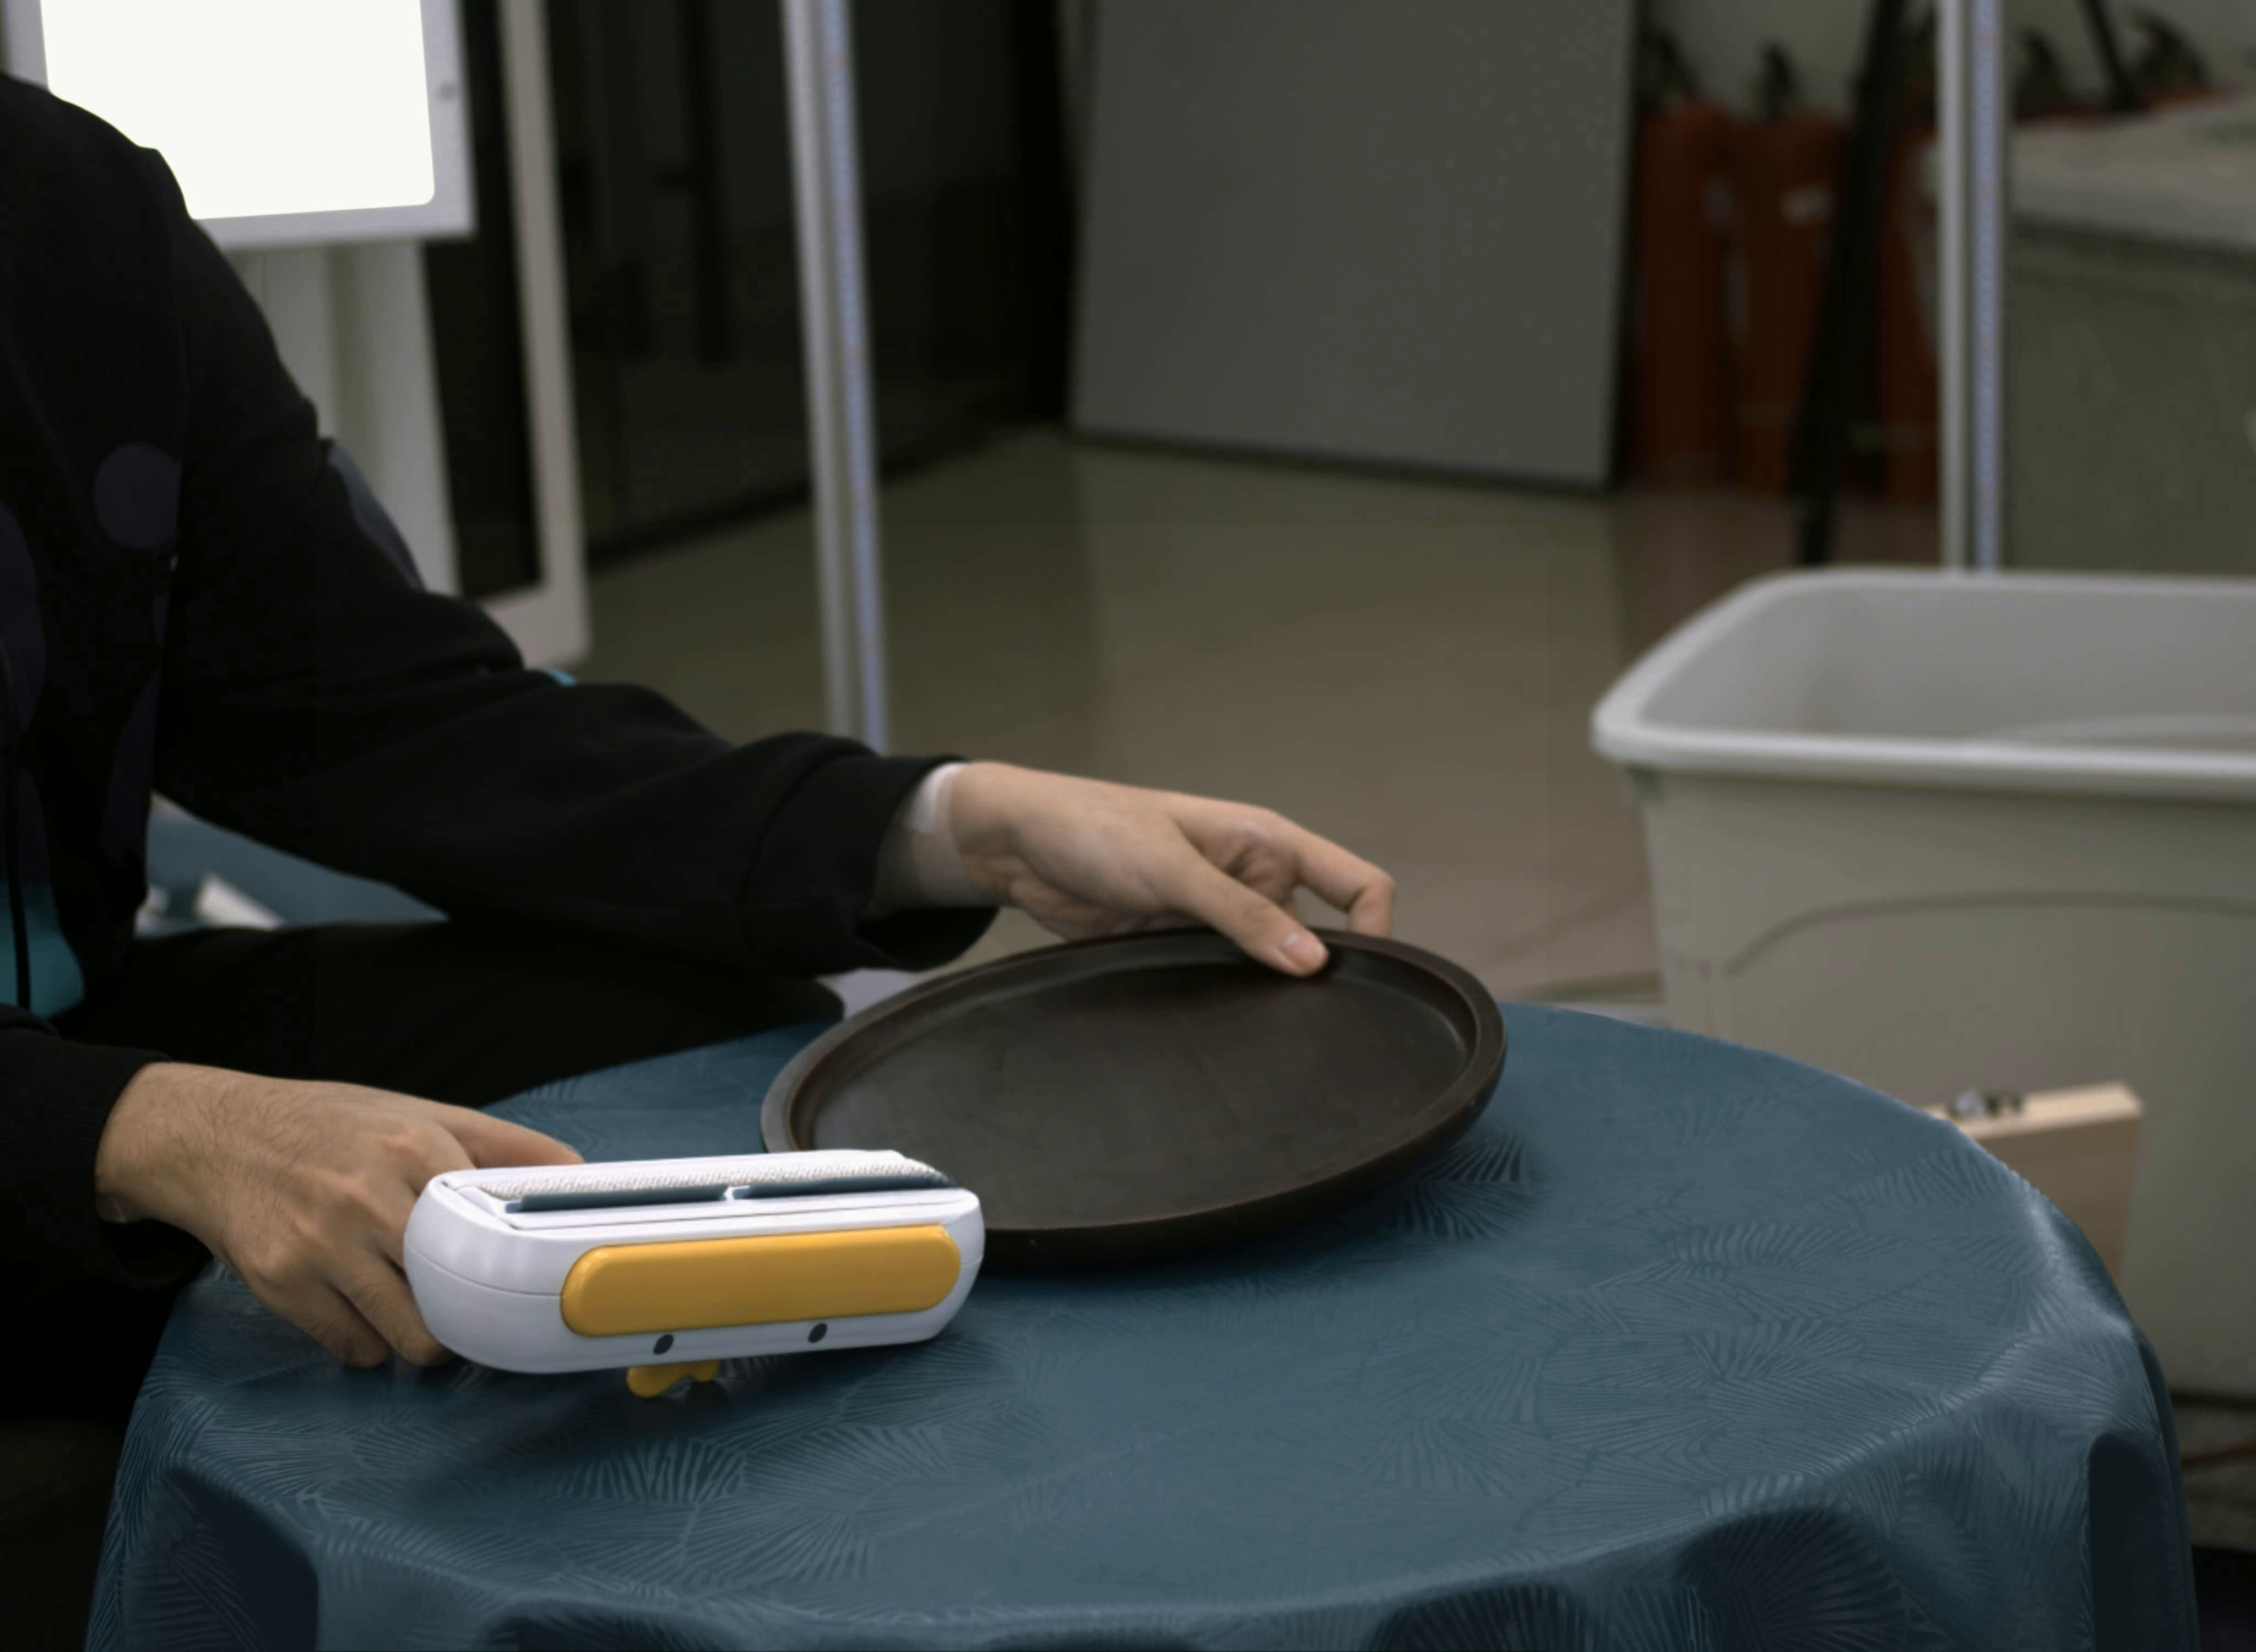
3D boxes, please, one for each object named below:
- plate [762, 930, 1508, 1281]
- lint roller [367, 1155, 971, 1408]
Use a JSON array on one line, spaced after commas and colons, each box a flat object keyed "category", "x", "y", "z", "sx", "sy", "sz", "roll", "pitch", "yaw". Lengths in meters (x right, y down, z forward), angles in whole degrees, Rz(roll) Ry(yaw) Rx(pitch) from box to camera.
[{"category": "plate", "x": 0.003, "y": 0.091, "z": 1.791, "sx": 0.252, "sy": 0.029, "sz": 0.255, "roll": -10, "pitch": 18, "yaw": 2}, {"category": "lint roller", "x": -0.167, "y": 0.129, "z": 1.650, "sx": 0.188, "sy": 0.075, "sz": 0.194, "roll": -5, "pitch": 10, "yaw": -35}]
